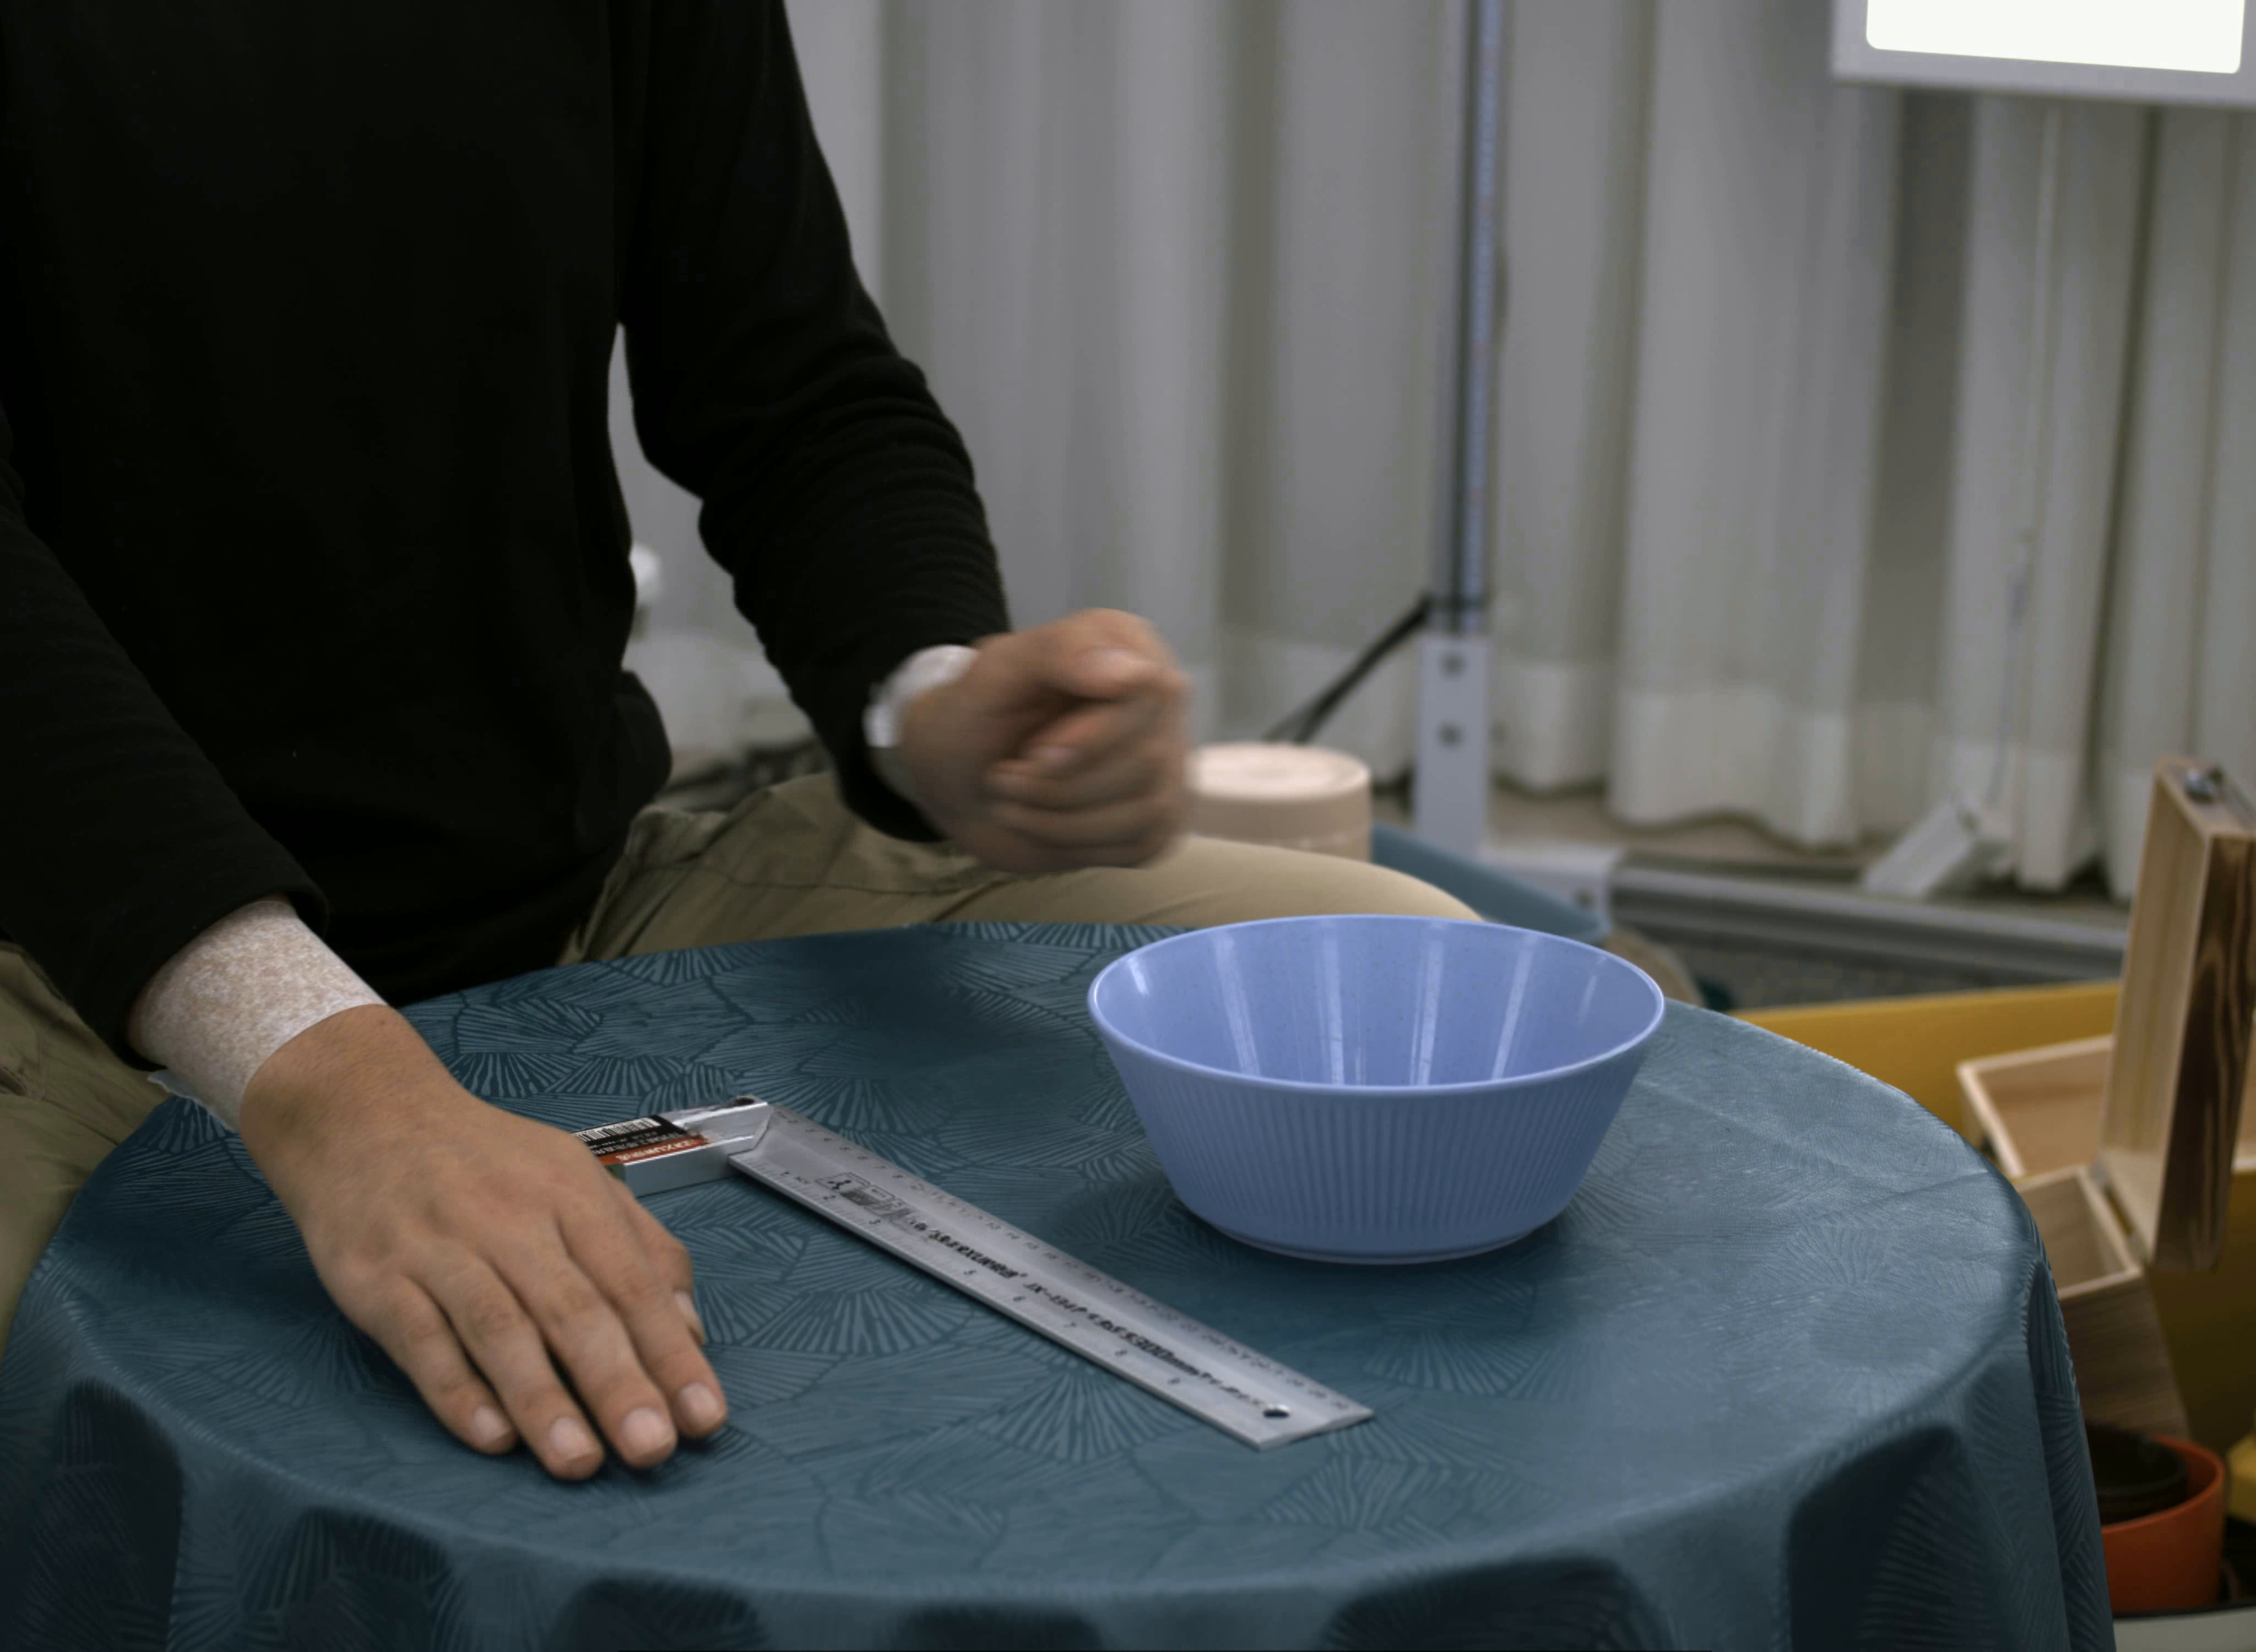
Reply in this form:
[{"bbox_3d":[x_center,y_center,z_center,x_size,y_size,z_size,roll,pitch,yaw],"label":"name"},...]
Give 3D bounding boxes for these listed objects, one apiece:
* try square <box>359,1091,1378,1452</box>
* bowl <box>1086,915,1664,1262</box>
[{"bbox_3d":[-0.083,0.138,1.519,0.153,0.016,0.308,-14,22,-34],"label":"try square"},{"bbox_3d":[0.074,0.082,1.601,0.175,0.071,0.175,1,16,0],"label":"bowl"}]
